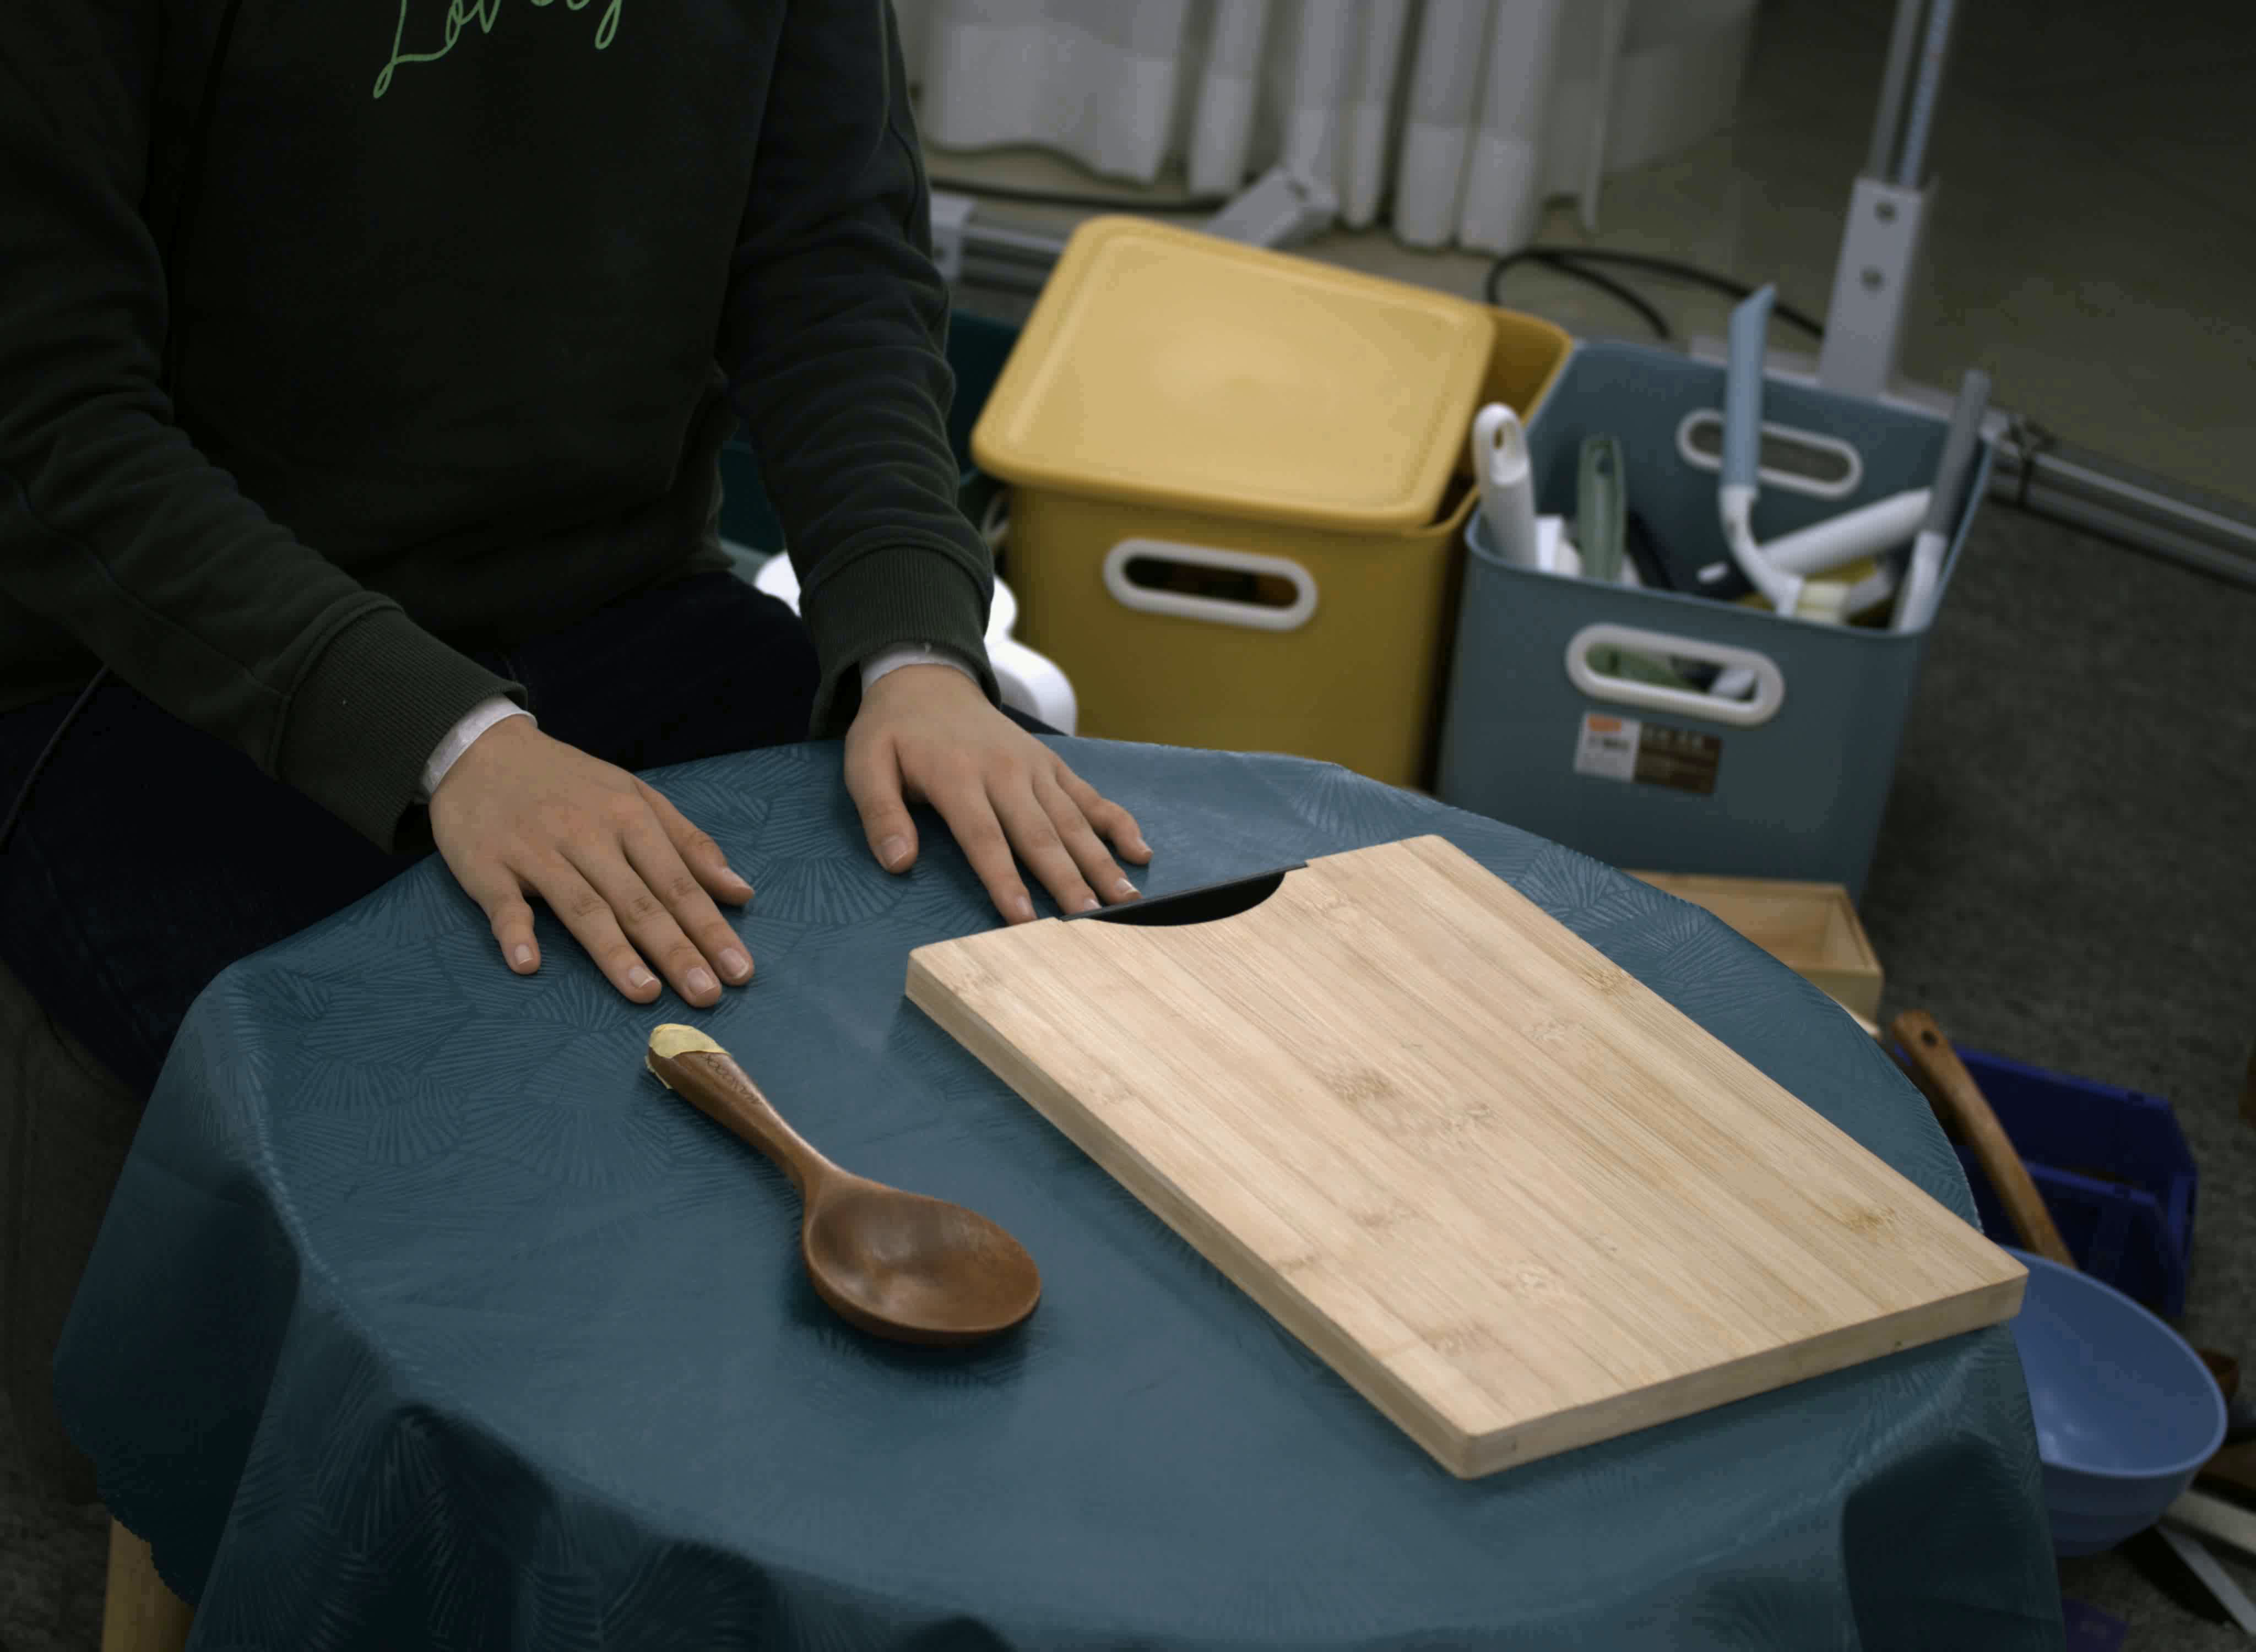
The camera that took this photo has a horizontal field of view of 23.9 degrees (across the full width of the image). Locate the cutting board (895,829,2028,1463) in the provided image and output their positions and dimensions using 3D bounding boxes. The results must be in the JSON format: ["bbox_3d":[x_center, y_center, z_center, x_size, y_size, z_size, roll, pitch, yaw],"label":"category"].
[{"bbox_3d":[0.109,0.103,1.849,0.249,0.023,0.352,-12,32,-33],"label":"cutting board"}]

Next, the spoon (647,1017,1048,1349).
[{"bbox_3d":[-0.101,0.119,1.768,0.075,0.017,0.218,-13,33,-31],"label":"spoon"}]
